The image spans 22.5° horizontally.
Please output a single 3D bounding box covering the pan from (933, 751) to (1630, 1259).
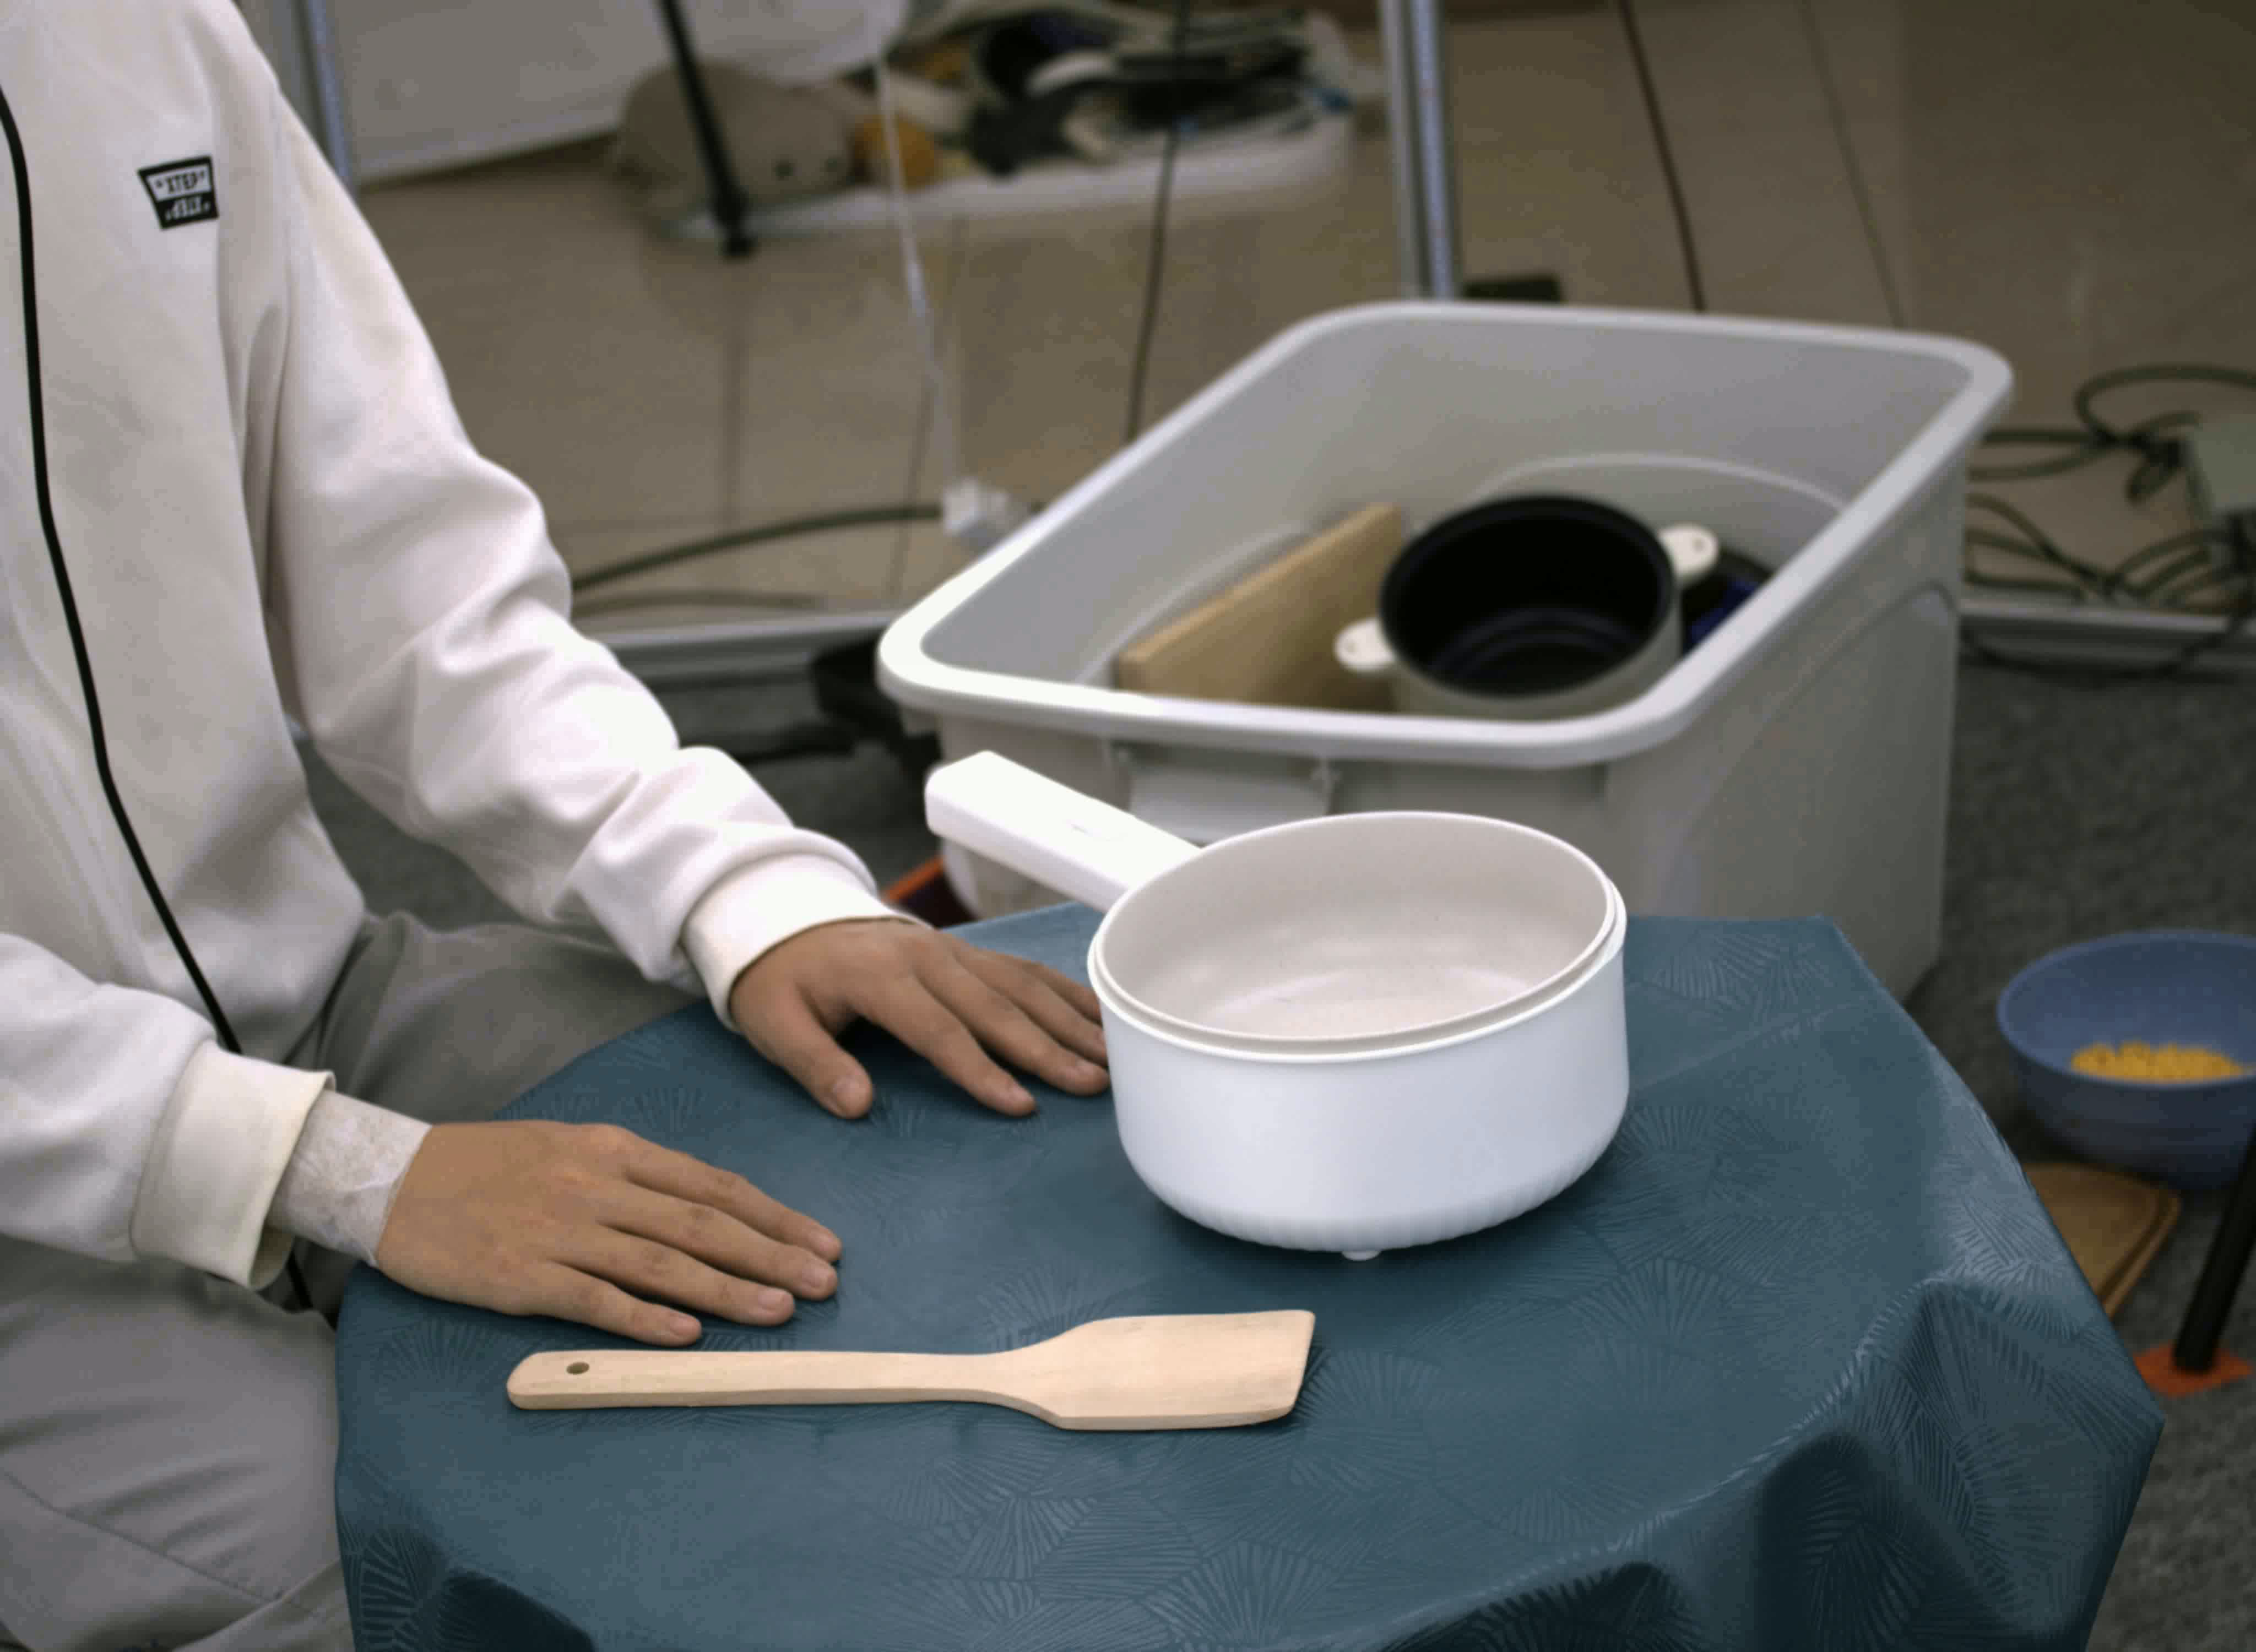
[{"bbox_3d":[0.044,0.061,2.186,0.200,0.103,0.351,-24,29,-31],"label":"pan"}]

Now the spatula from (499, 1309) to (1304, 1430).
[{"bbox_3d":[-0.084,0.197,2.032,0.292,0.011,0.071,-2,27,10],"label":"spatula"}]
